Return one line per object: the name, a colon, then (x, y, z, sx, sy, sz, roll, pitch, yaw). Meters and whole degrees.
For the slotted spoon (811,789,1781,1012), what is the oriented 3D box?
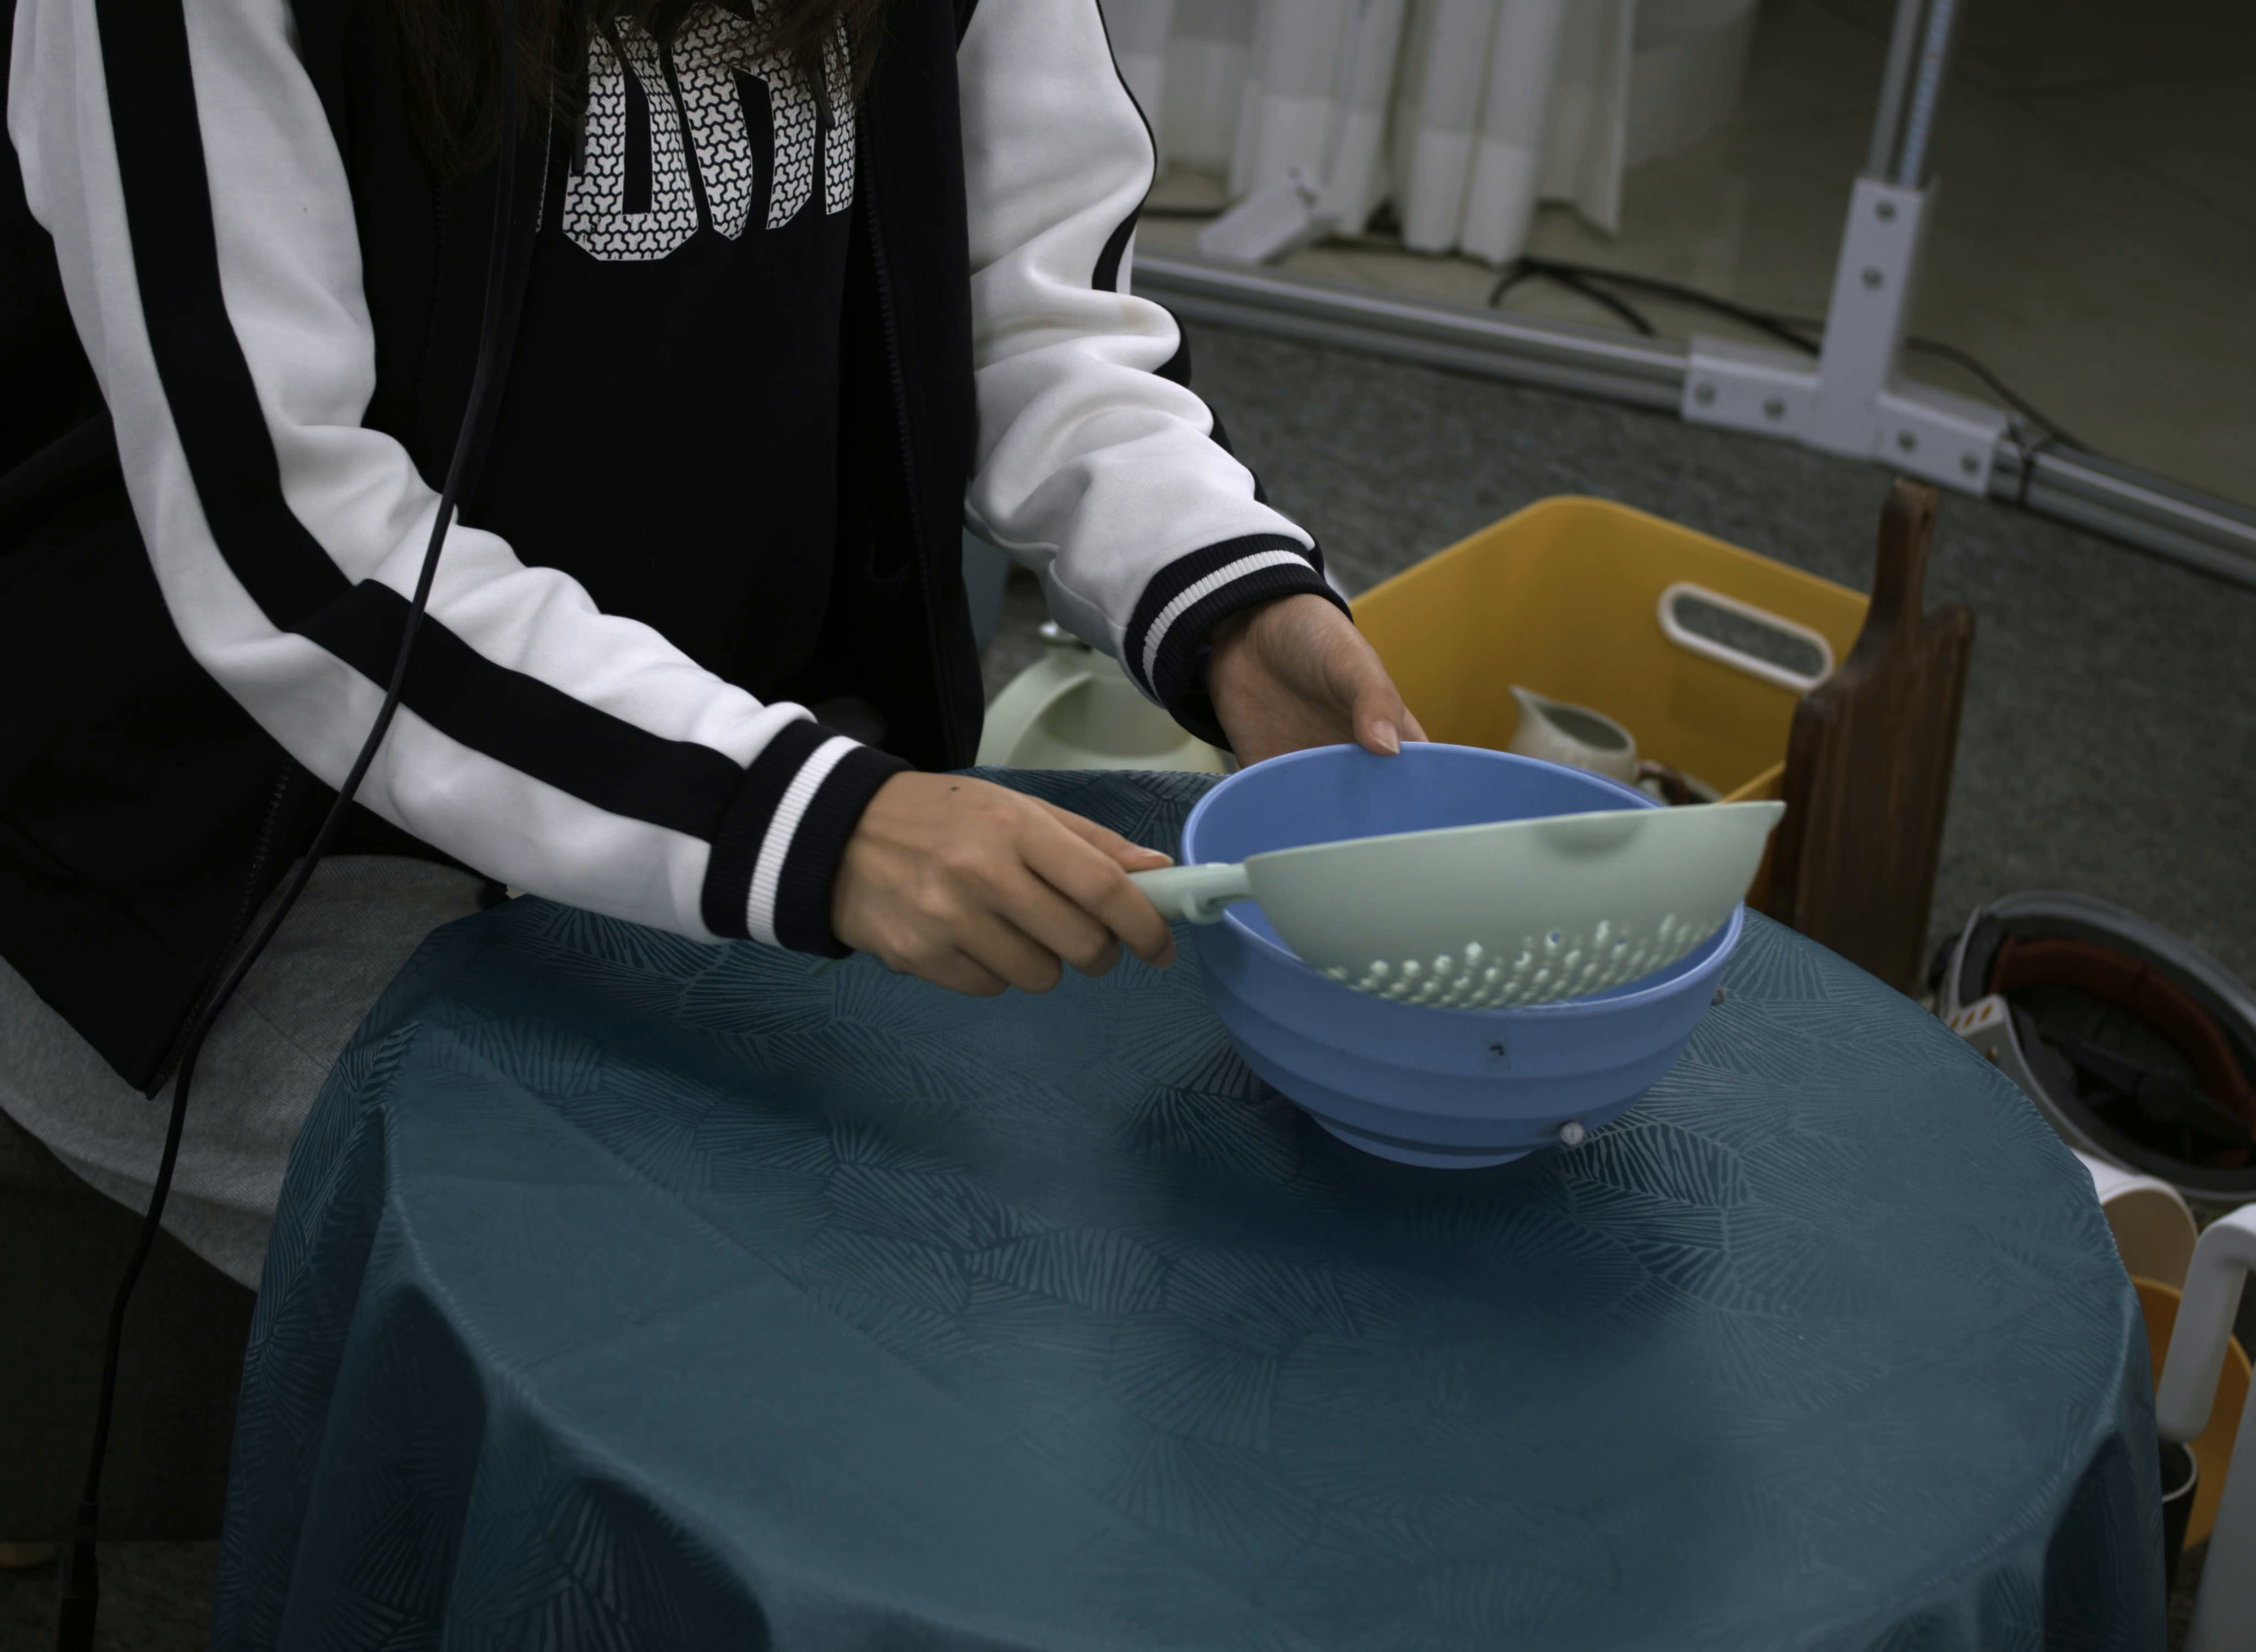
slotted spoon: (0.040, 0.025, 1.755, 0.360, 0.075, 0.168, 1, 2, 33)

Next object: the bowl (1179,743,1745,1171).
bowl: (0.111, 0.057, 1.855, 0.196, 0.095, 0.198, 5, 27, -3)
